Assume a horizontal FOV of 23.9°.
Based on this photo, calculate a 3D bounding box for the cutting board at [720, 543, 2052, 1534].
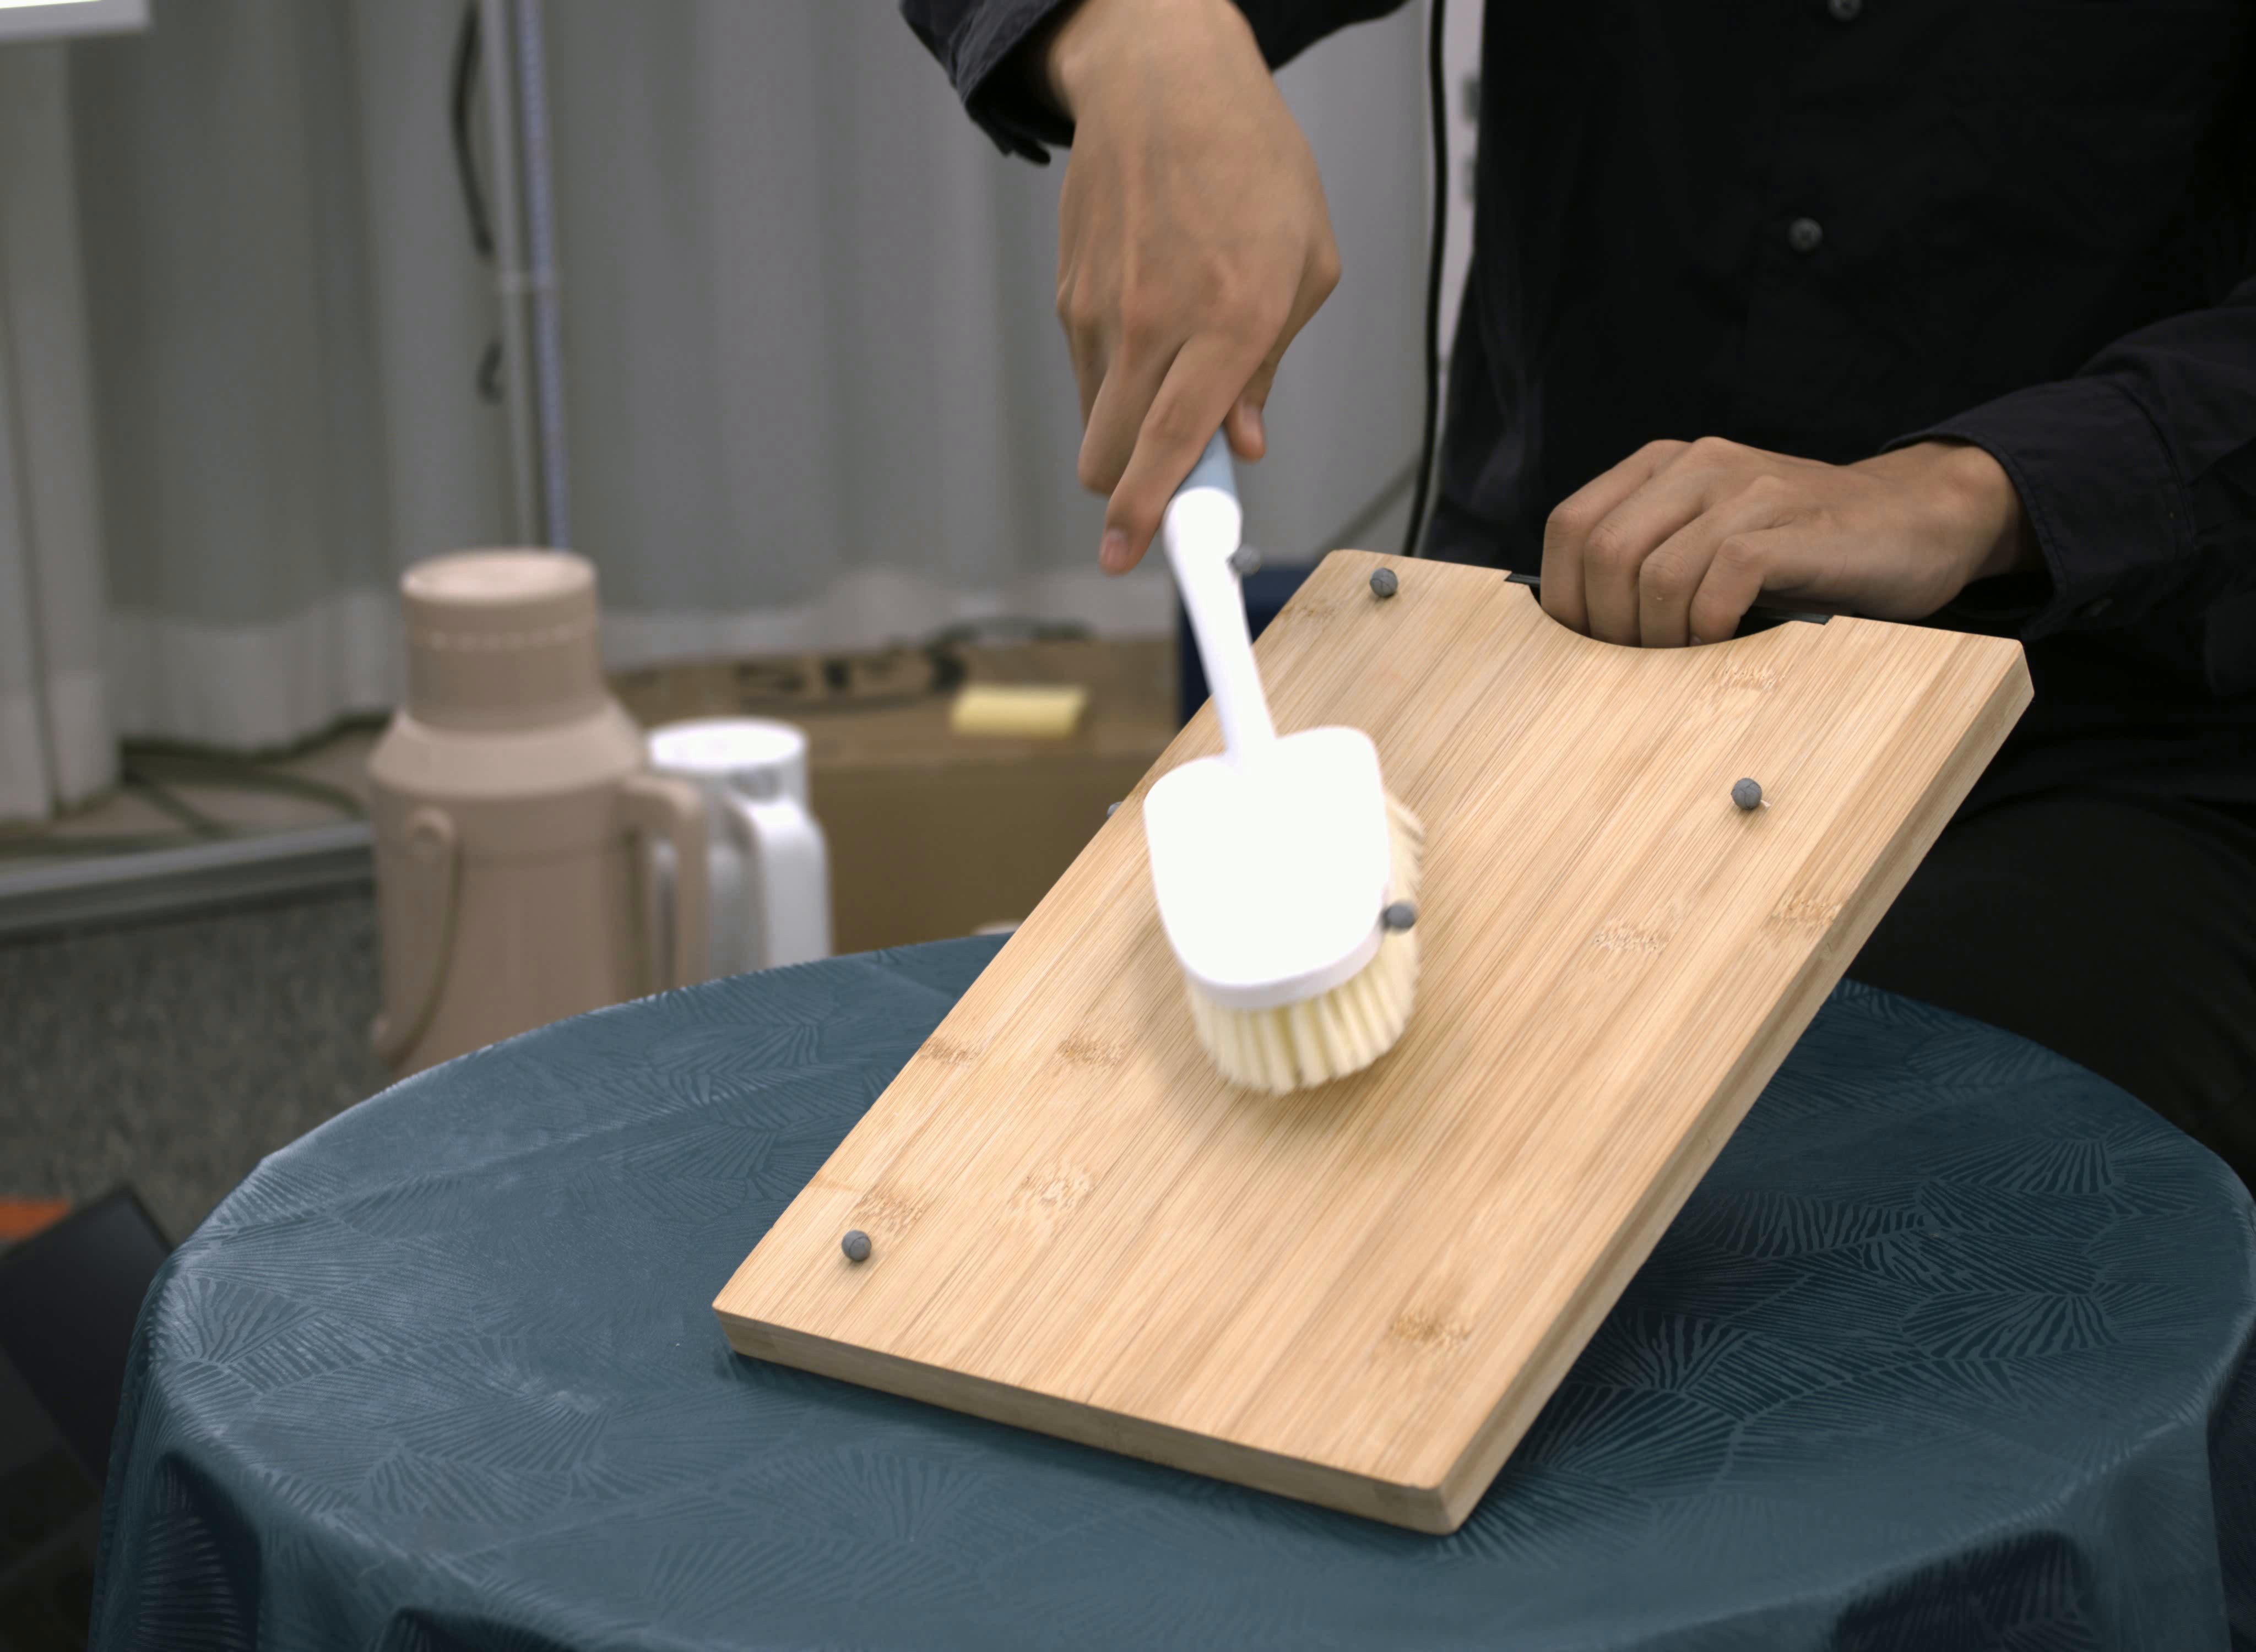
[{"bbox_3d":[0.074,0.045,1.474,0.256,0.023,0.346,9,46,36],"label":"cutting board"}]

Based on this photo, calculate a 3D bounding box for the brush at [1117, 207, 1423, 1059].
[{"bbox_3d":[0.038,-0.052,1.541,0.081,0.085,0.330,12,41,-19],"label":"brush"}]
